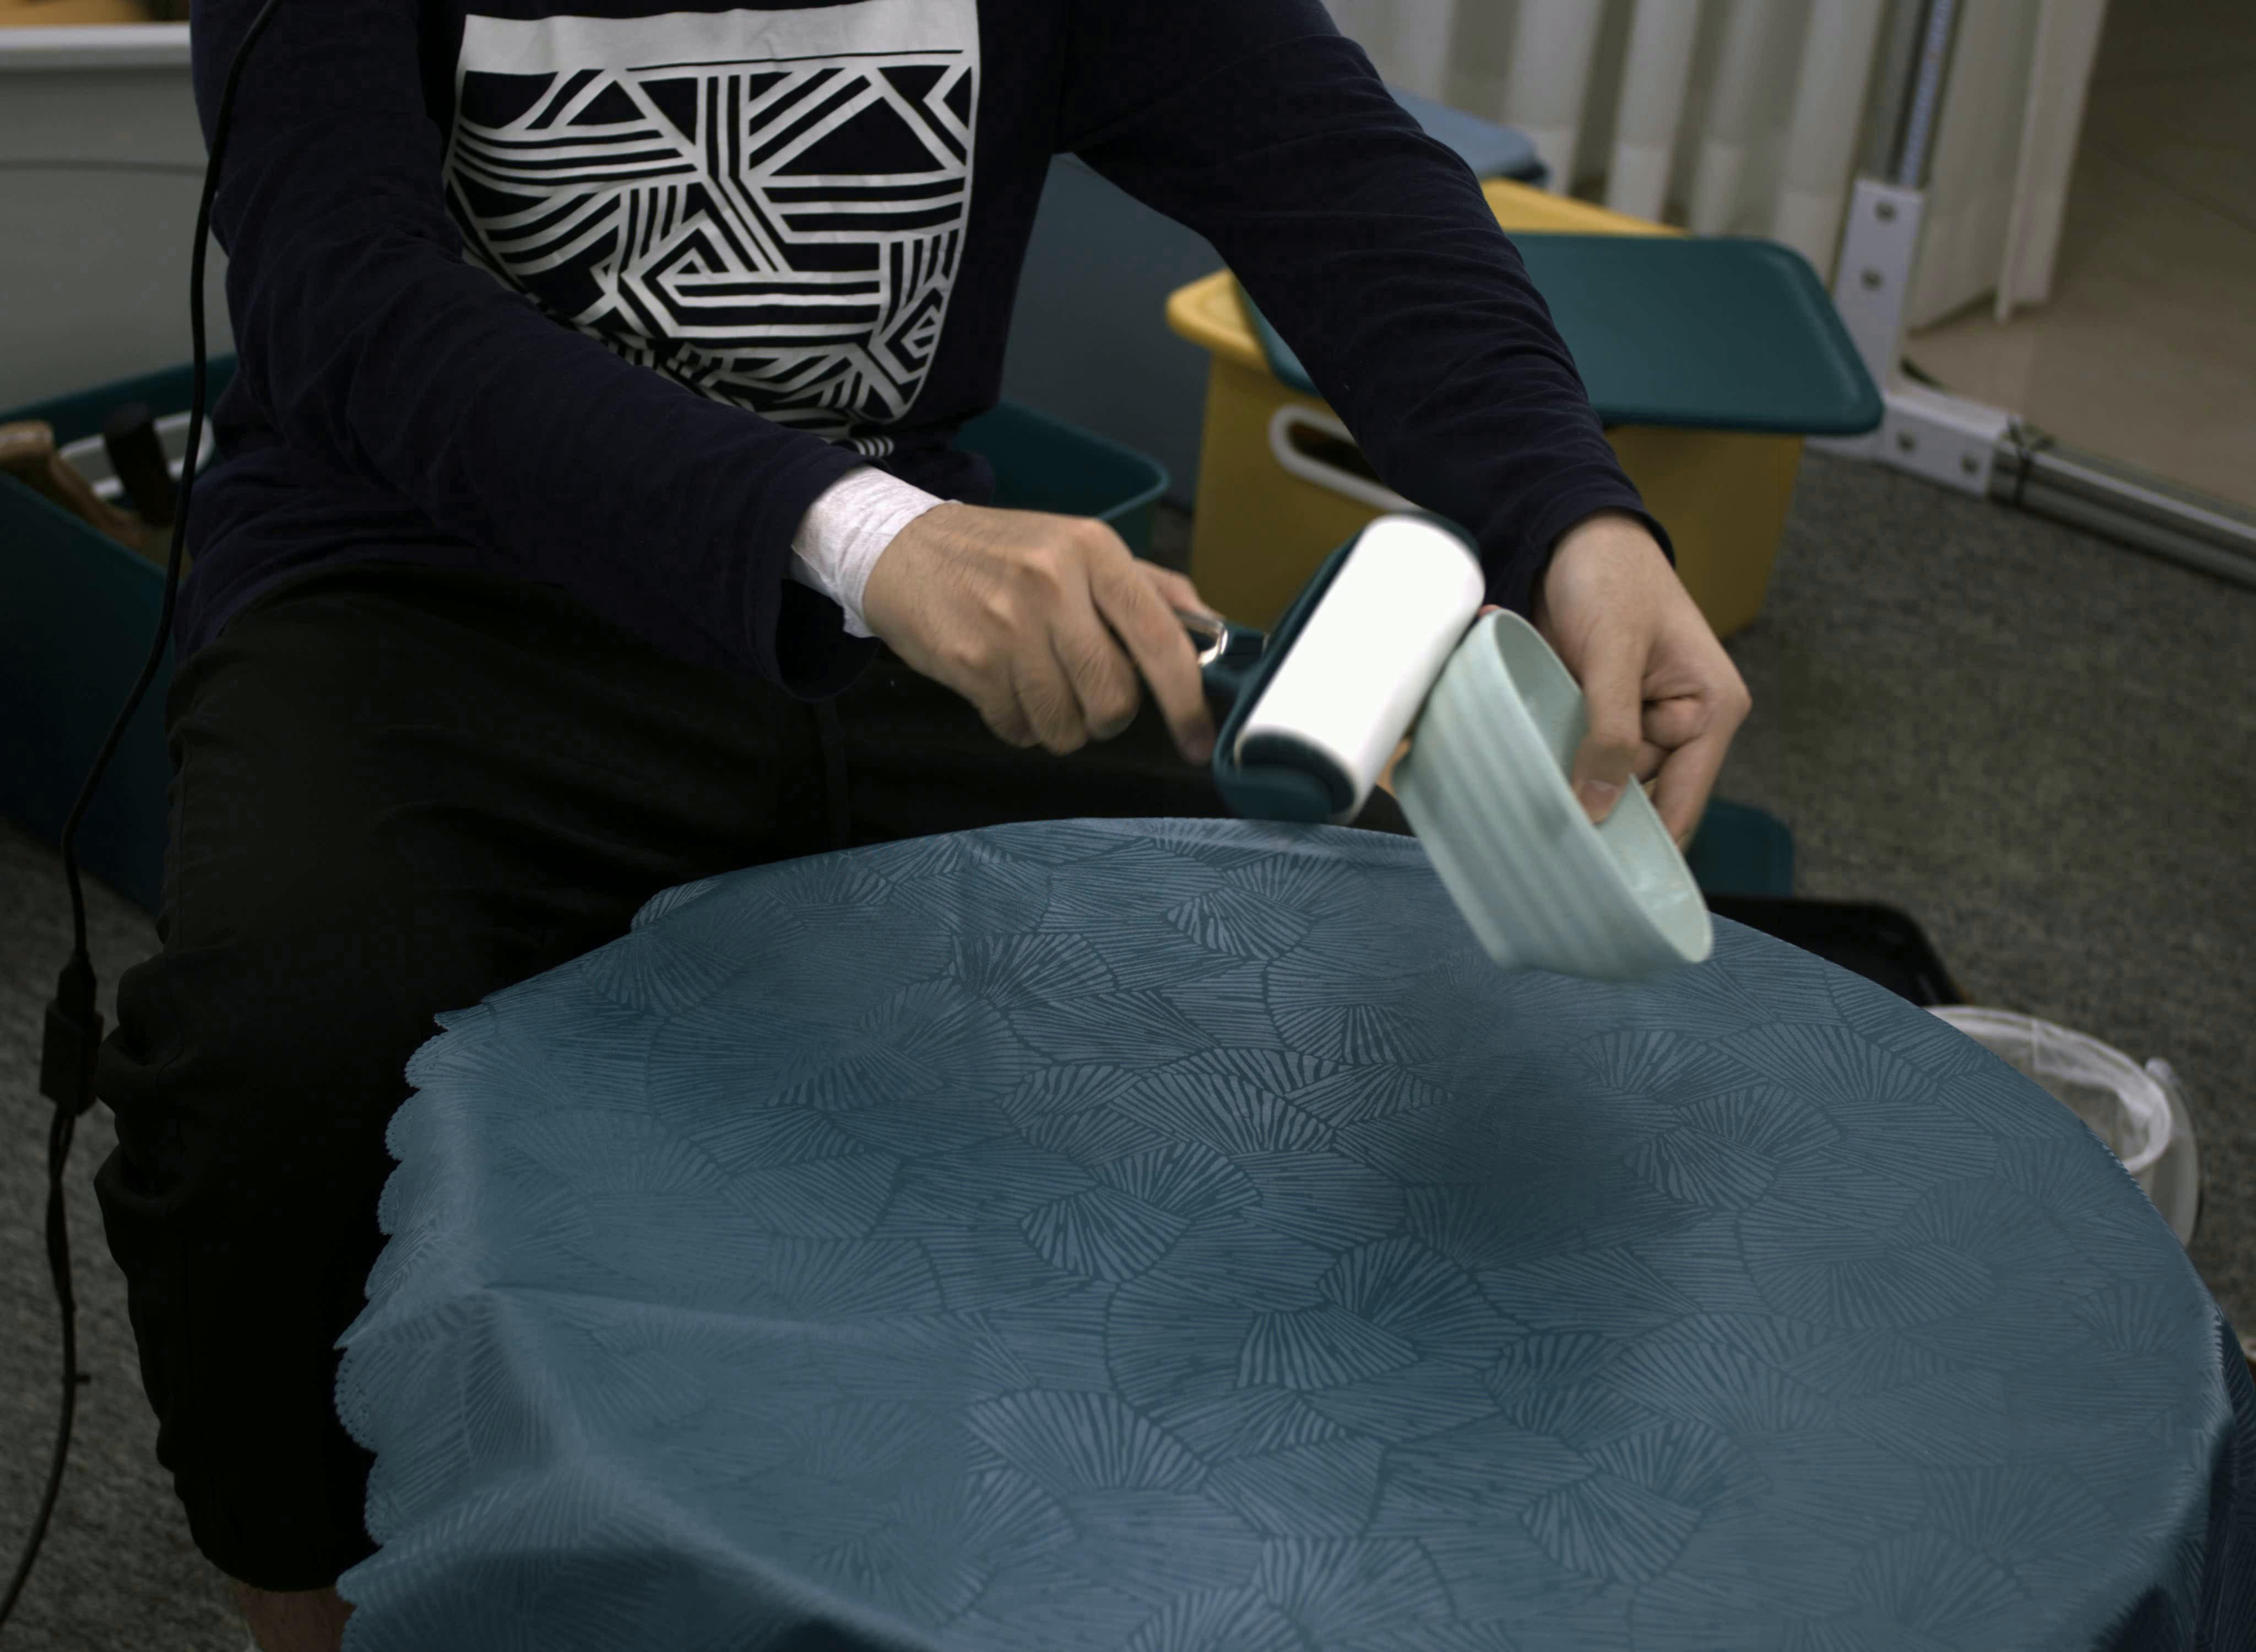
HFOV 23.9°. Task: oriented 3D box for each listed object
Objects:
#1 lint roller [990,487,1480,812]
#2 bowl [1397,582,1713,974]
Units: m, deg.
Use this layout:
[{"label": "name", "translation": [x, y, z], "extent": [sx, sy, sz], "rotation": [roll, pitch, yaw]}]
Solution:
[{"label": "lint roller", "translation": [0.022, -0.065, 1.813], "extent": [0.181, 0.048, 0.135], "rotation": [7, 48, 33]}, {"label": "bowl", "translation": [0.139, -0.007, 1.802], "extent": [0.058, 0.151, 0.152], "rotation": [-24, 18, 21]}]
